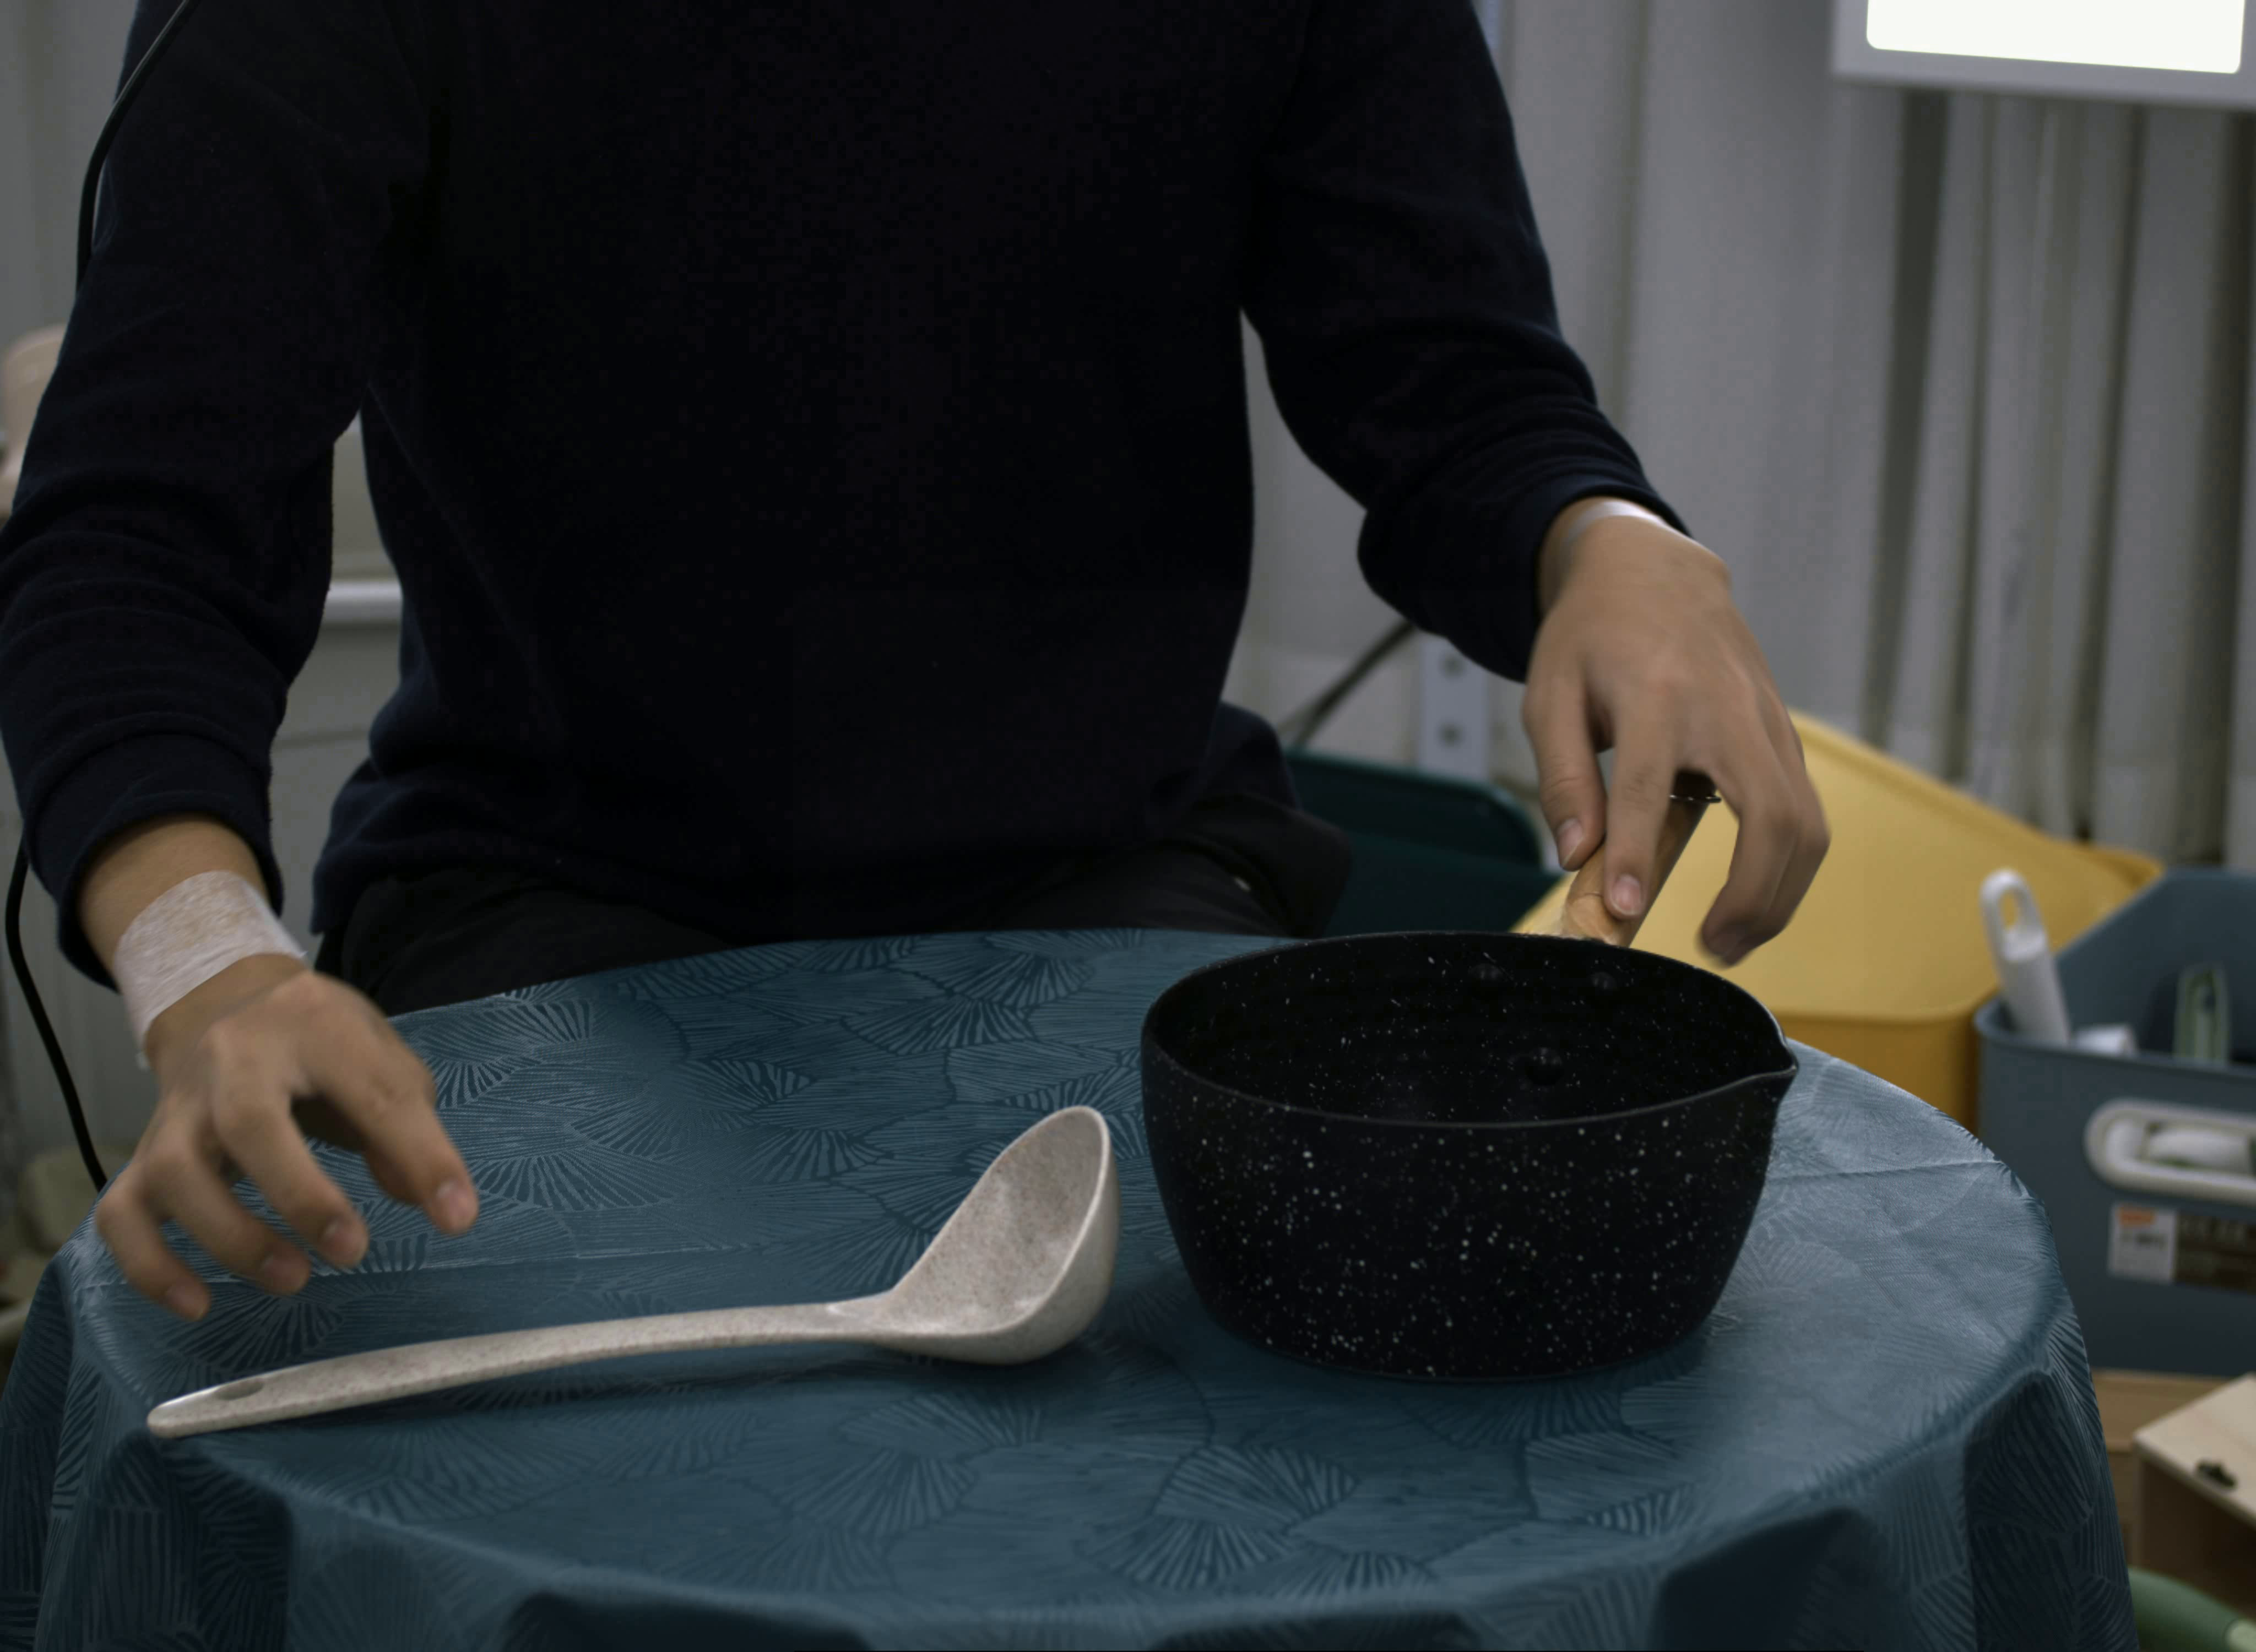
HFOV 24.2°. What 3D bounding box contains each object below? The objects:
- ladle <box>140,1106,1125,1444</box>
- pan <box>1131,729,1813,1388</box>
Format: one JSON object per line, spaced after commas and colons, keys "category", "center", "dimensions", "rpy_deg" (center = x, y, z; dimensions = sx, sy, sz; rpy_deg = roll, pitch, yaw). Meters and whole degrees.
{"category": "ladle", "center": [-0.135, 0.124, 1.452], "dimensions": [0.275, 0.070, 0.088], "rpy_deg": [-4, 23, -15]}
{"category": "pan", "center": [0.122, 0.065, 1.595], "dimensions": [0.205, 0.109, 0.343], "rpy_deg": [5, 18, 19]}
